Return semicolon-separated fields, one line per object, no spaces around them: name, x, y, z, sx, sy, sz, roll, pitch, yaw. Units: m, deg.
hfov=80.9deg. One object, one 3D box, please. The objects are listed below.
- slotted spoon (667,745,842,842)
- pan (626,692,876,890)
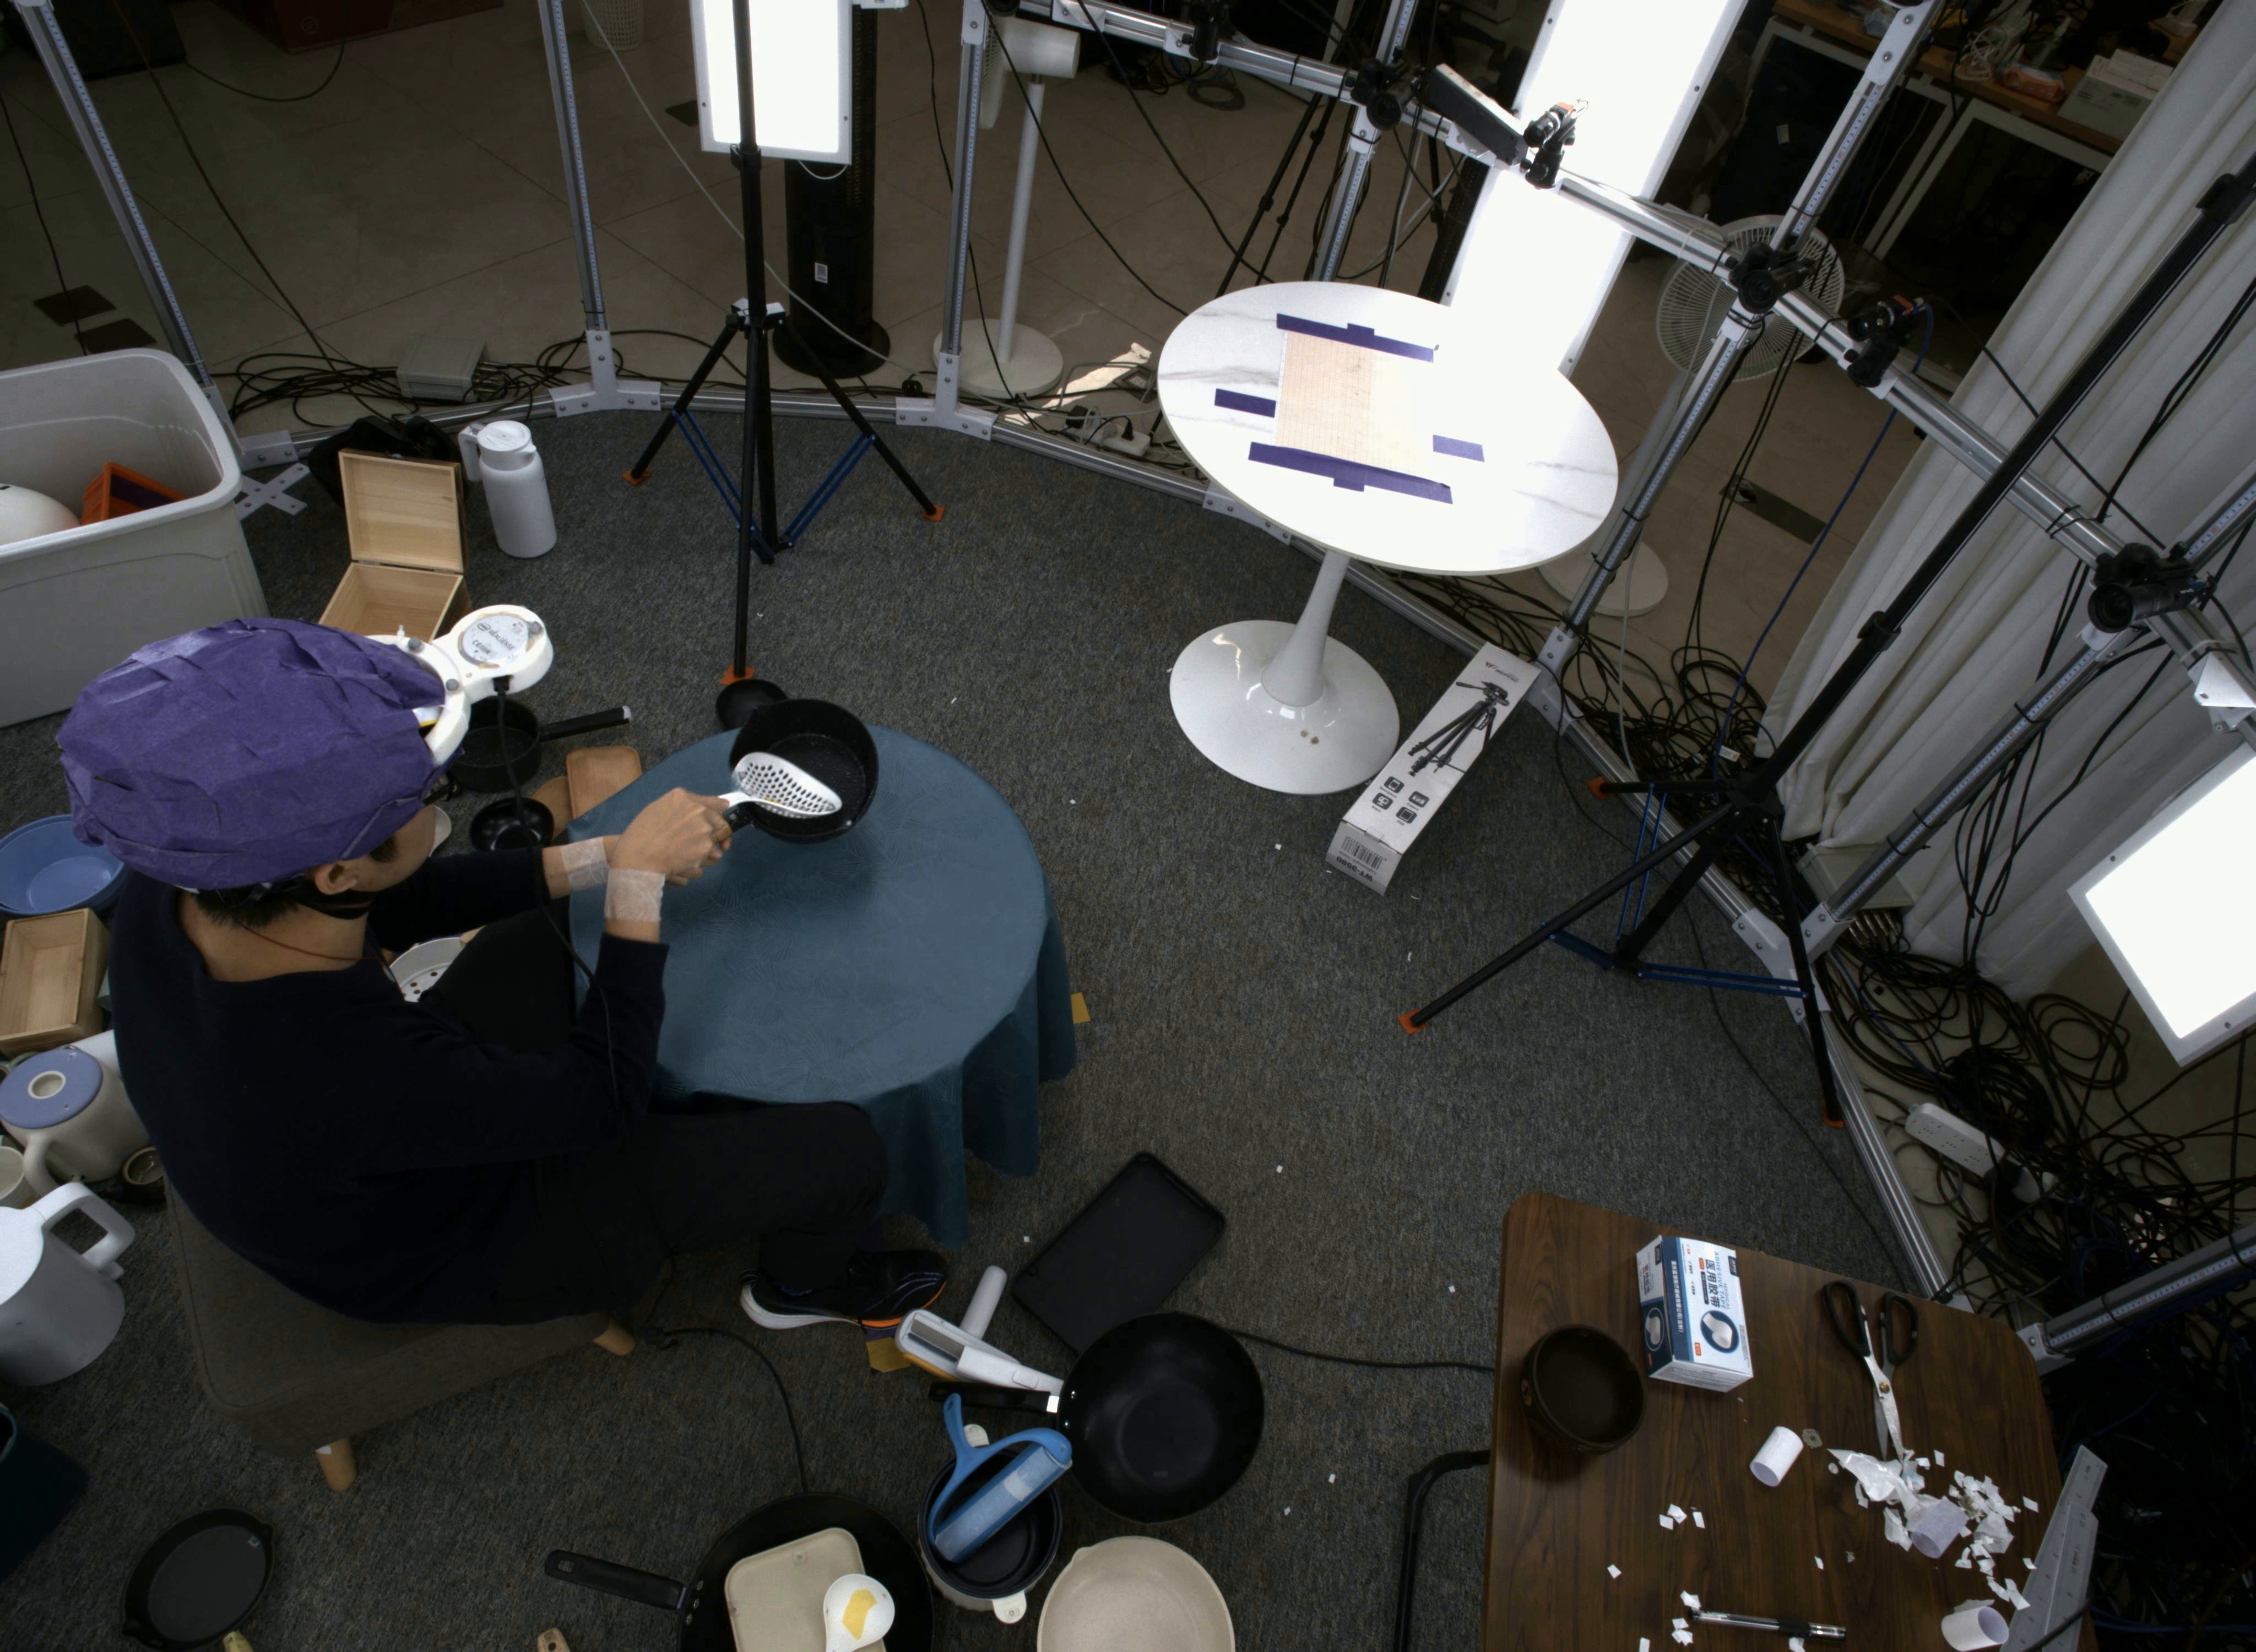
slotted spoon;-0.447;-0.032;1.509;0.136;0.050;0.347;34;10;3
pan;-0.465;-0.020;1.596;0.343;0.108;0.207;-40;86;-20
